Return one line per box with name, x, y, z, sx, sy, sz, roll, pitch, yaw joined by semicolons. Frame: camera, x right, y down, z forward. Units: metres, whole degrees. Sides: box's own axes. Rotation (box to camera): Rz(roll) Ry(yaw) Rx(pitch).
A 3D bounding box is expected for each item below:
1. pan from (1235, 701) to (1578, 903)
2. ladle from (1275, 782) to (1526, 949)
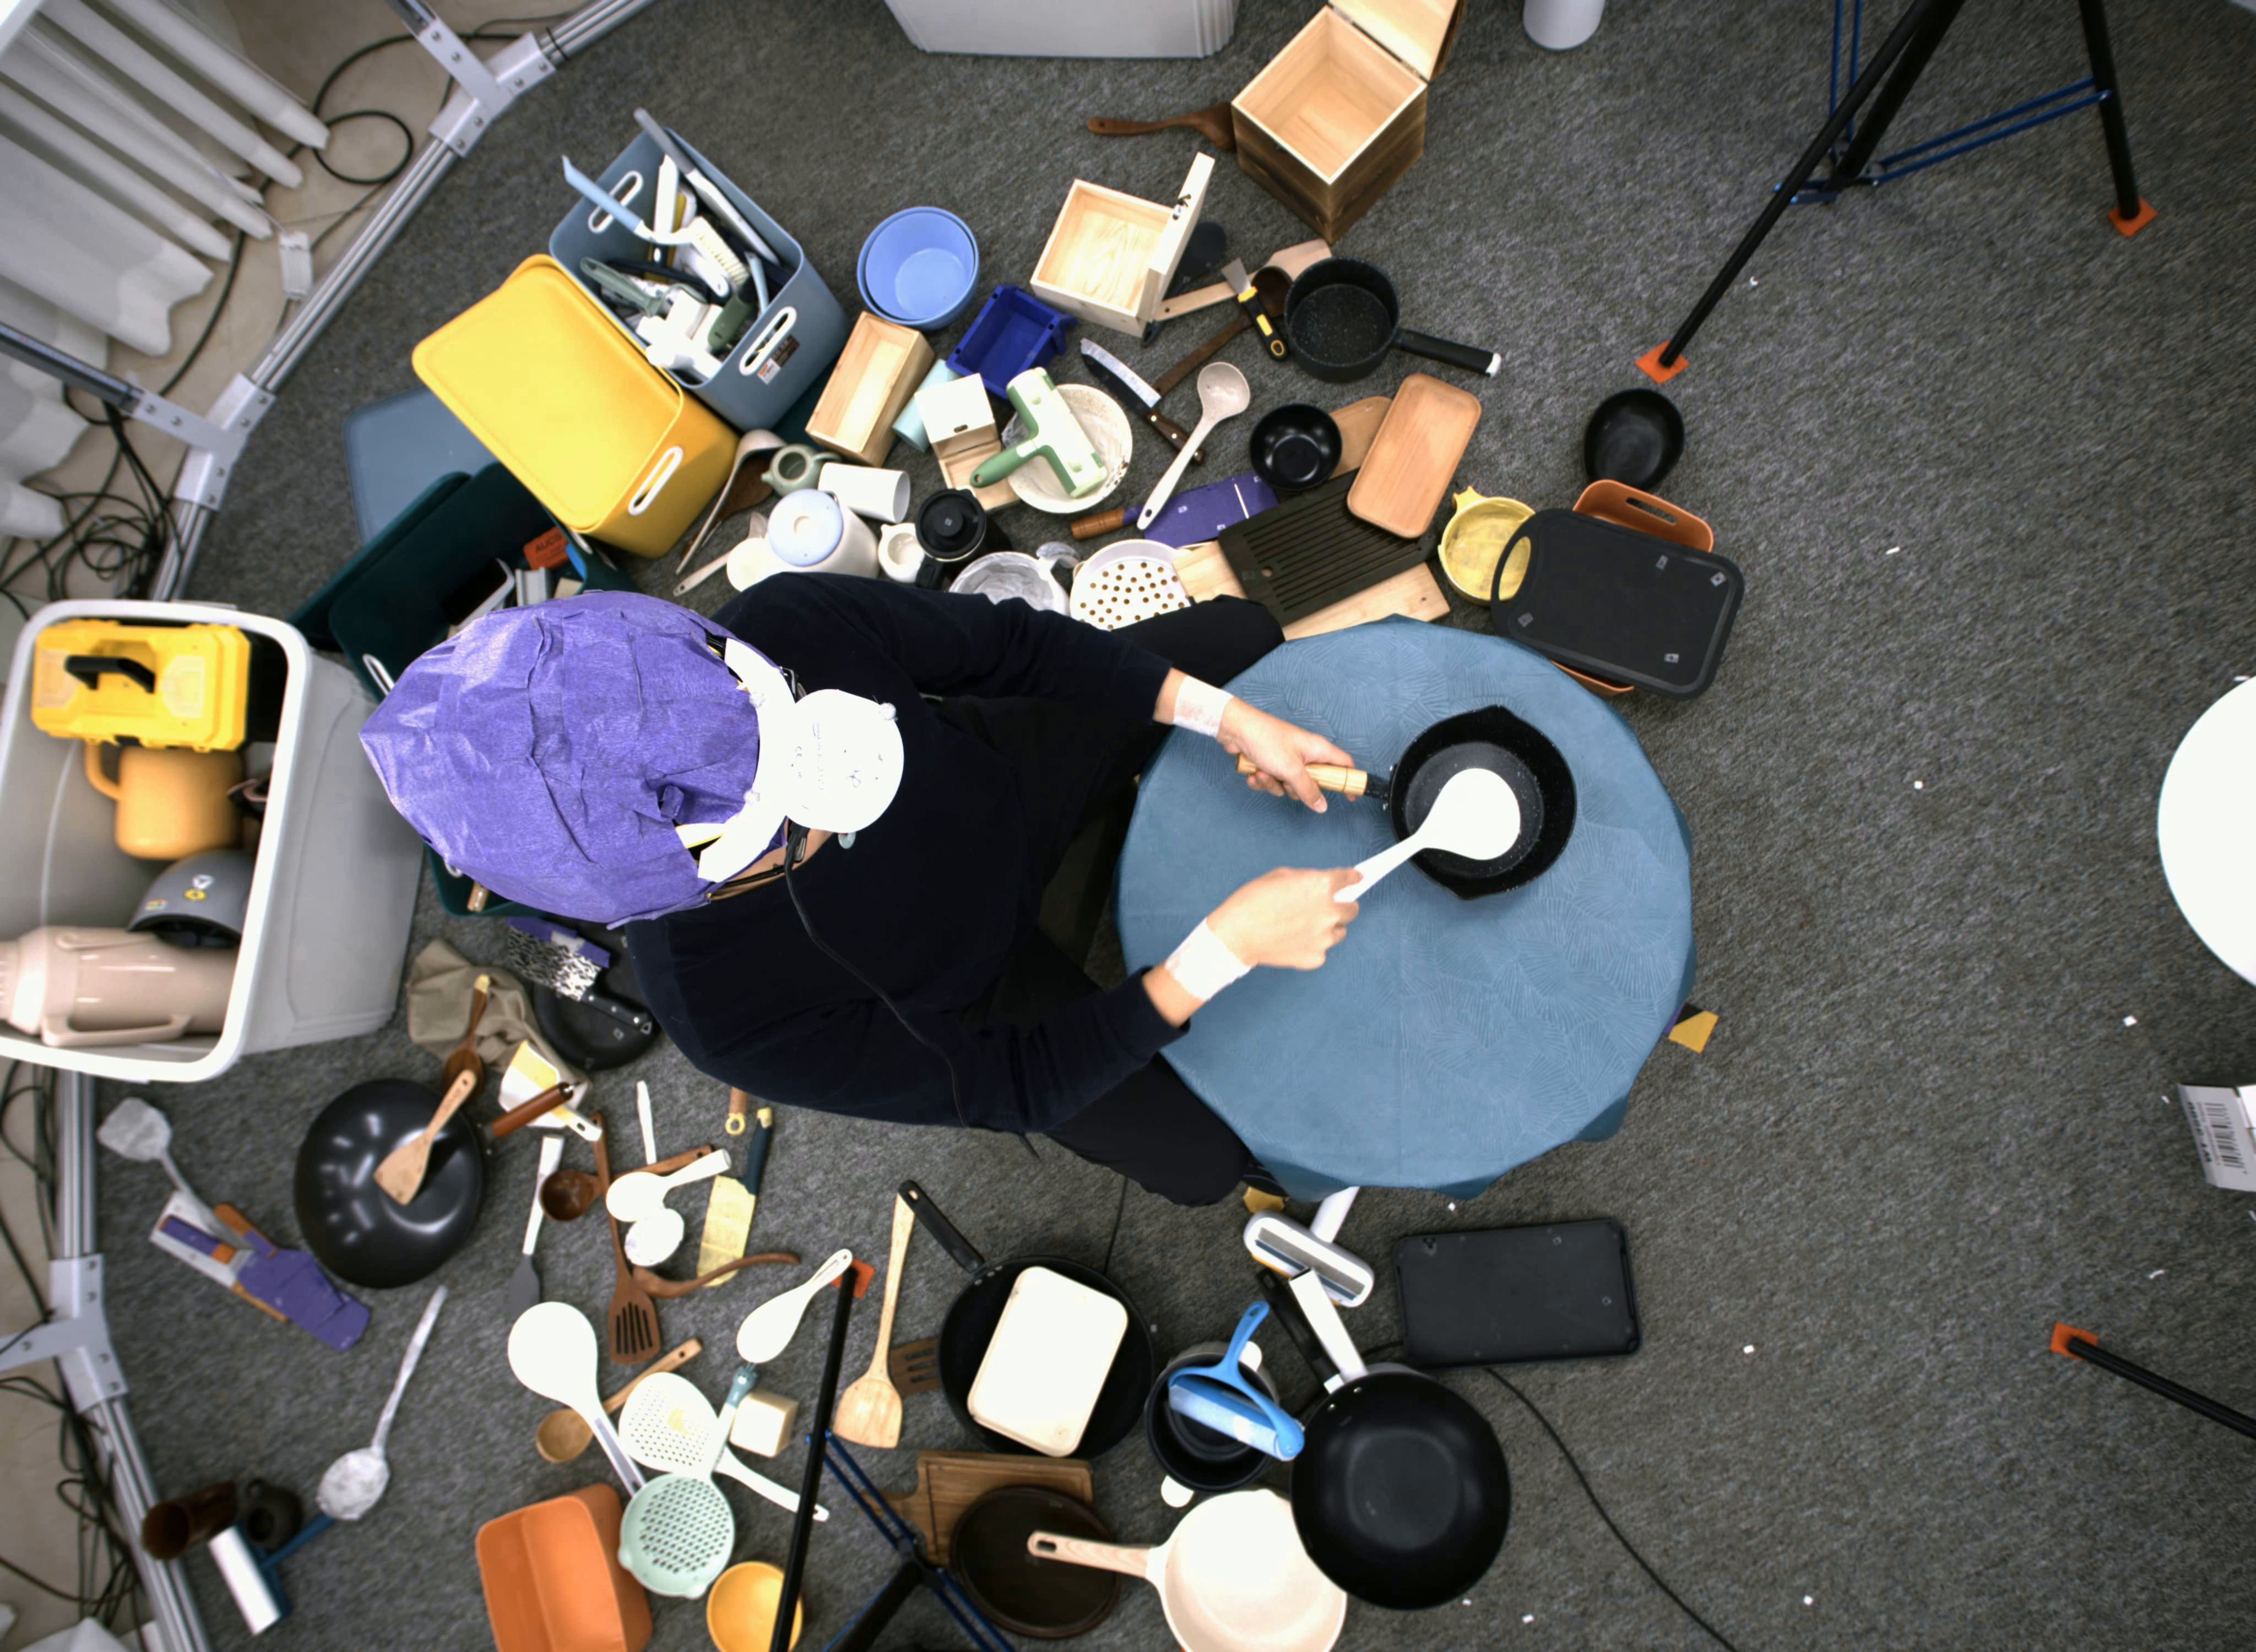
pan;0.279;-0.035;1.405;0.343;0.108;0.207;9;90;8
ladle;0.259;0.040;1.285;0.288;0.070;0.091;-26;105;-33
